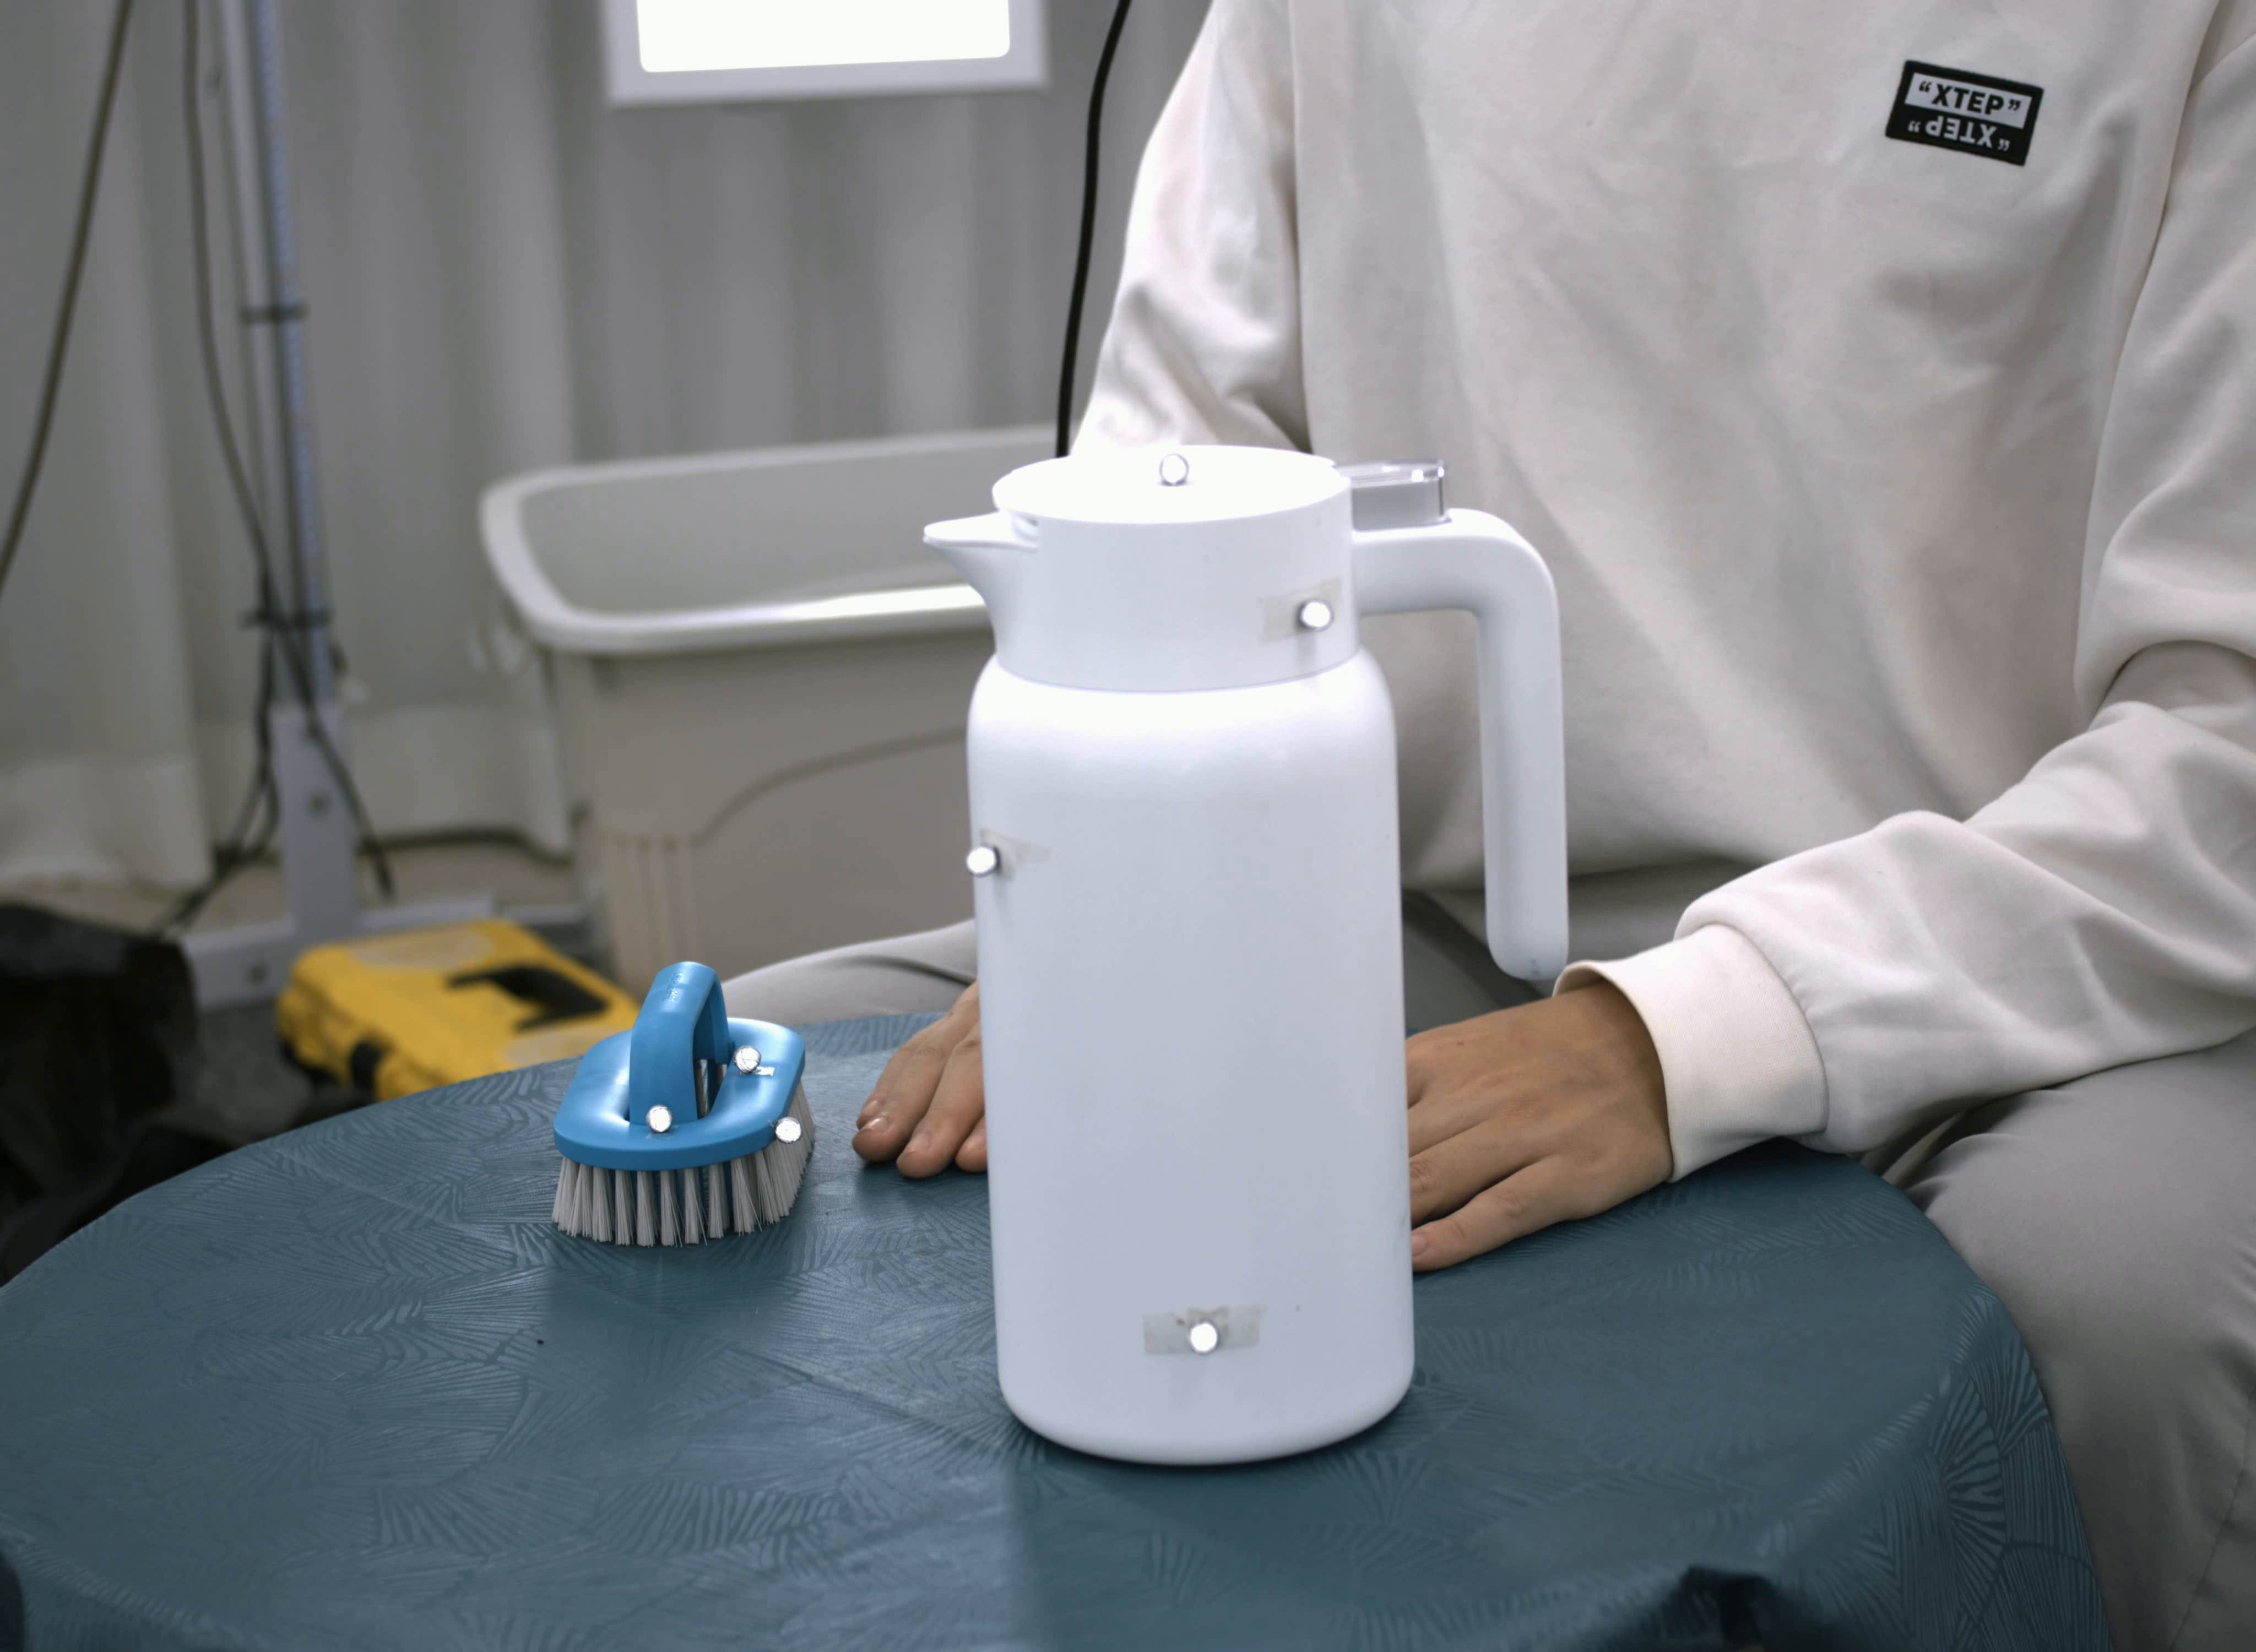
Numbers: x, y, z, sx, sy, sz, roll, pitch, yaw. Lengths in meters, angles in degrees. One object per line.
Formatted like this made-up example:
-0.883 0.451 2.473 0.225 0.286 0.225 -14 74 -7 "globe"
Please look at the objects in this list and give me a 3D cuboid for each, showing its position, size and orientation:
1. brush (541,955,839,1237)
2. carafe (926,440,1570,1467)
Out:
-0.141 0.080 1.746 0.084 0.063 0.142 -6 14 7 "brush"
0.035 0.032 1.508 0.172 0.268 0.124 -4 12 -8 "carafe"
